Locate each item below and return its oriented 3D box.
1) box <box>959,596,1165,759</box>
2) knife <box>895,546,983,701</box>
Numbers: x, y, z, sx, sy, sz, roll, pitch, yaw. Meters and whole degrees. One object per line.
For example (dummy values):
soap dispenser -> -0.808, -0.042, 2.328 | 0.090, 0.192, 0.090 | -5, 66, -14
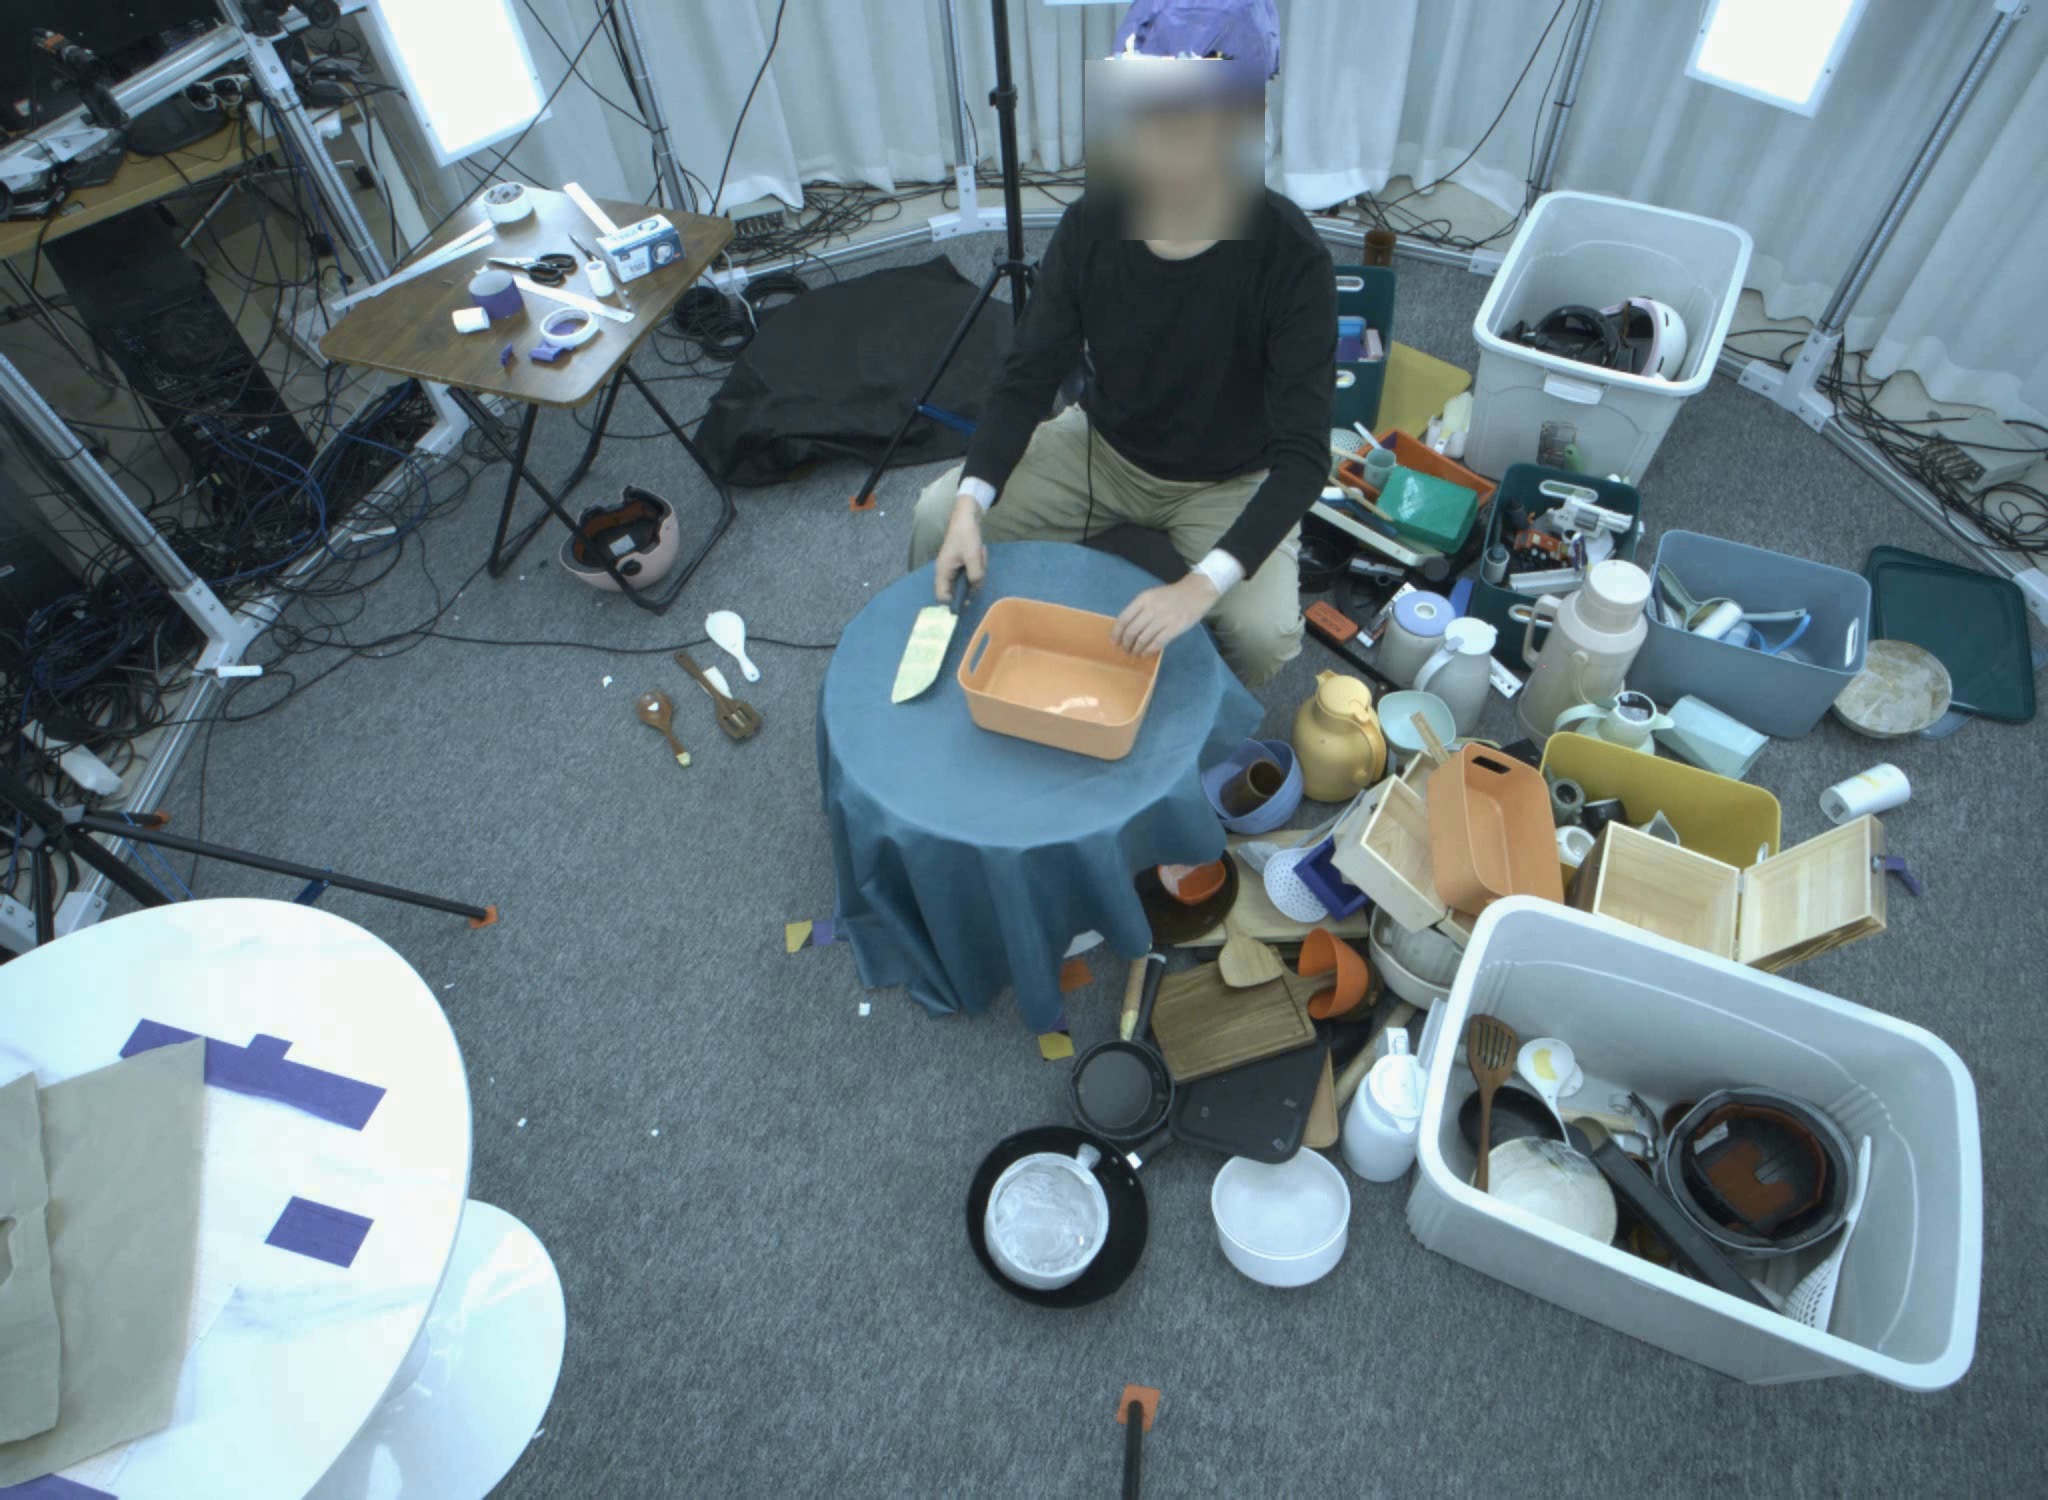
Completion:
box -> 0.058, -0.104, 1.795 | 0.270, 0.104, 0.199 | 14, 57, 12
knife -> -0.131, -0.197, 1.889 | 0.079, 0.028, 0.289 | 11, 65, 25
